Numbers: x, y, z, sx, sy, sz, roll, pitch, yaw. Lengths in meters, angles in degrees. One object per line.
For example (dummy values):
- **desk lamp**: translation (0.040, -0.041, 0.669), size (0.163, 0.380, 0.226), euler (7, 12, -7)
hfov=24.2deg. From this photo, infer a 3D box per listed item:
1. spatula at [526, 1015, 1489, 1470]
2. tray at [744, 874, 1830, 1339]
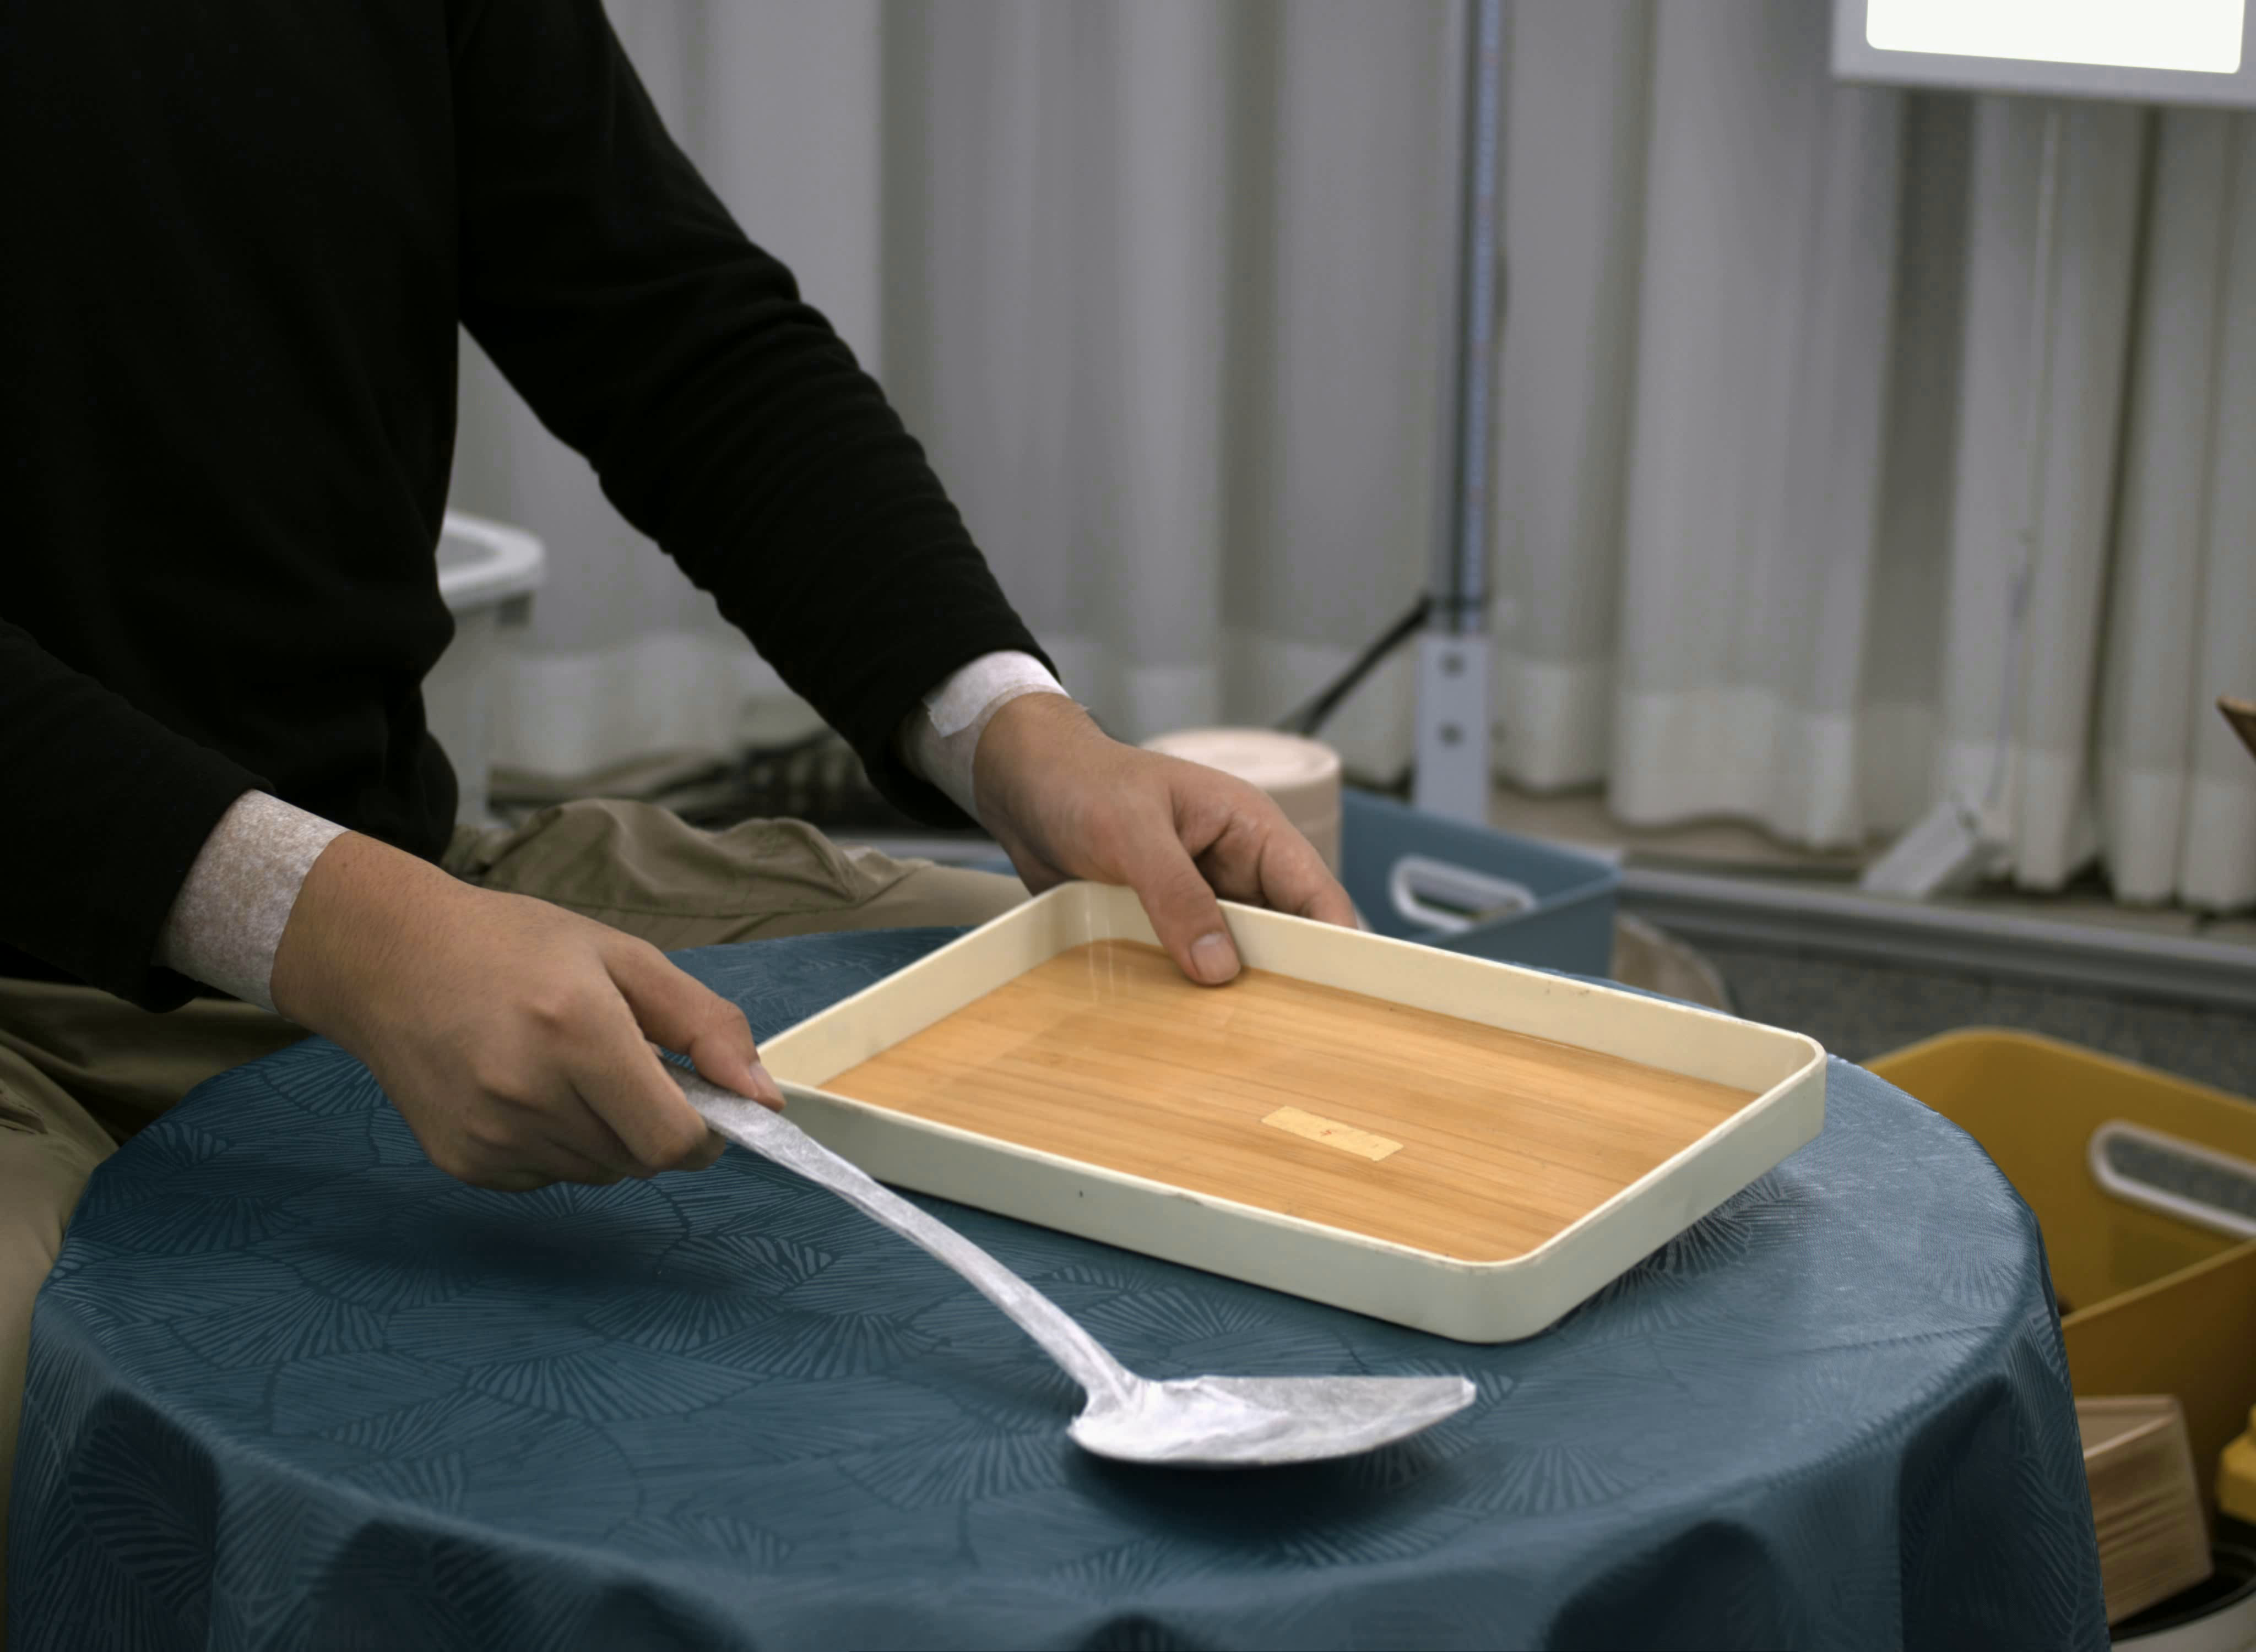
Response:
- **spatula**: translation (-0.057, 0.109, 1.484), size (0.360, 0.045, 0.099), euler (28, 28, 37)
- **tray**: translation (0.048, 0.082, 1.636), size (0.296, 0.027, 0.192), euler (13, 27, 36)
